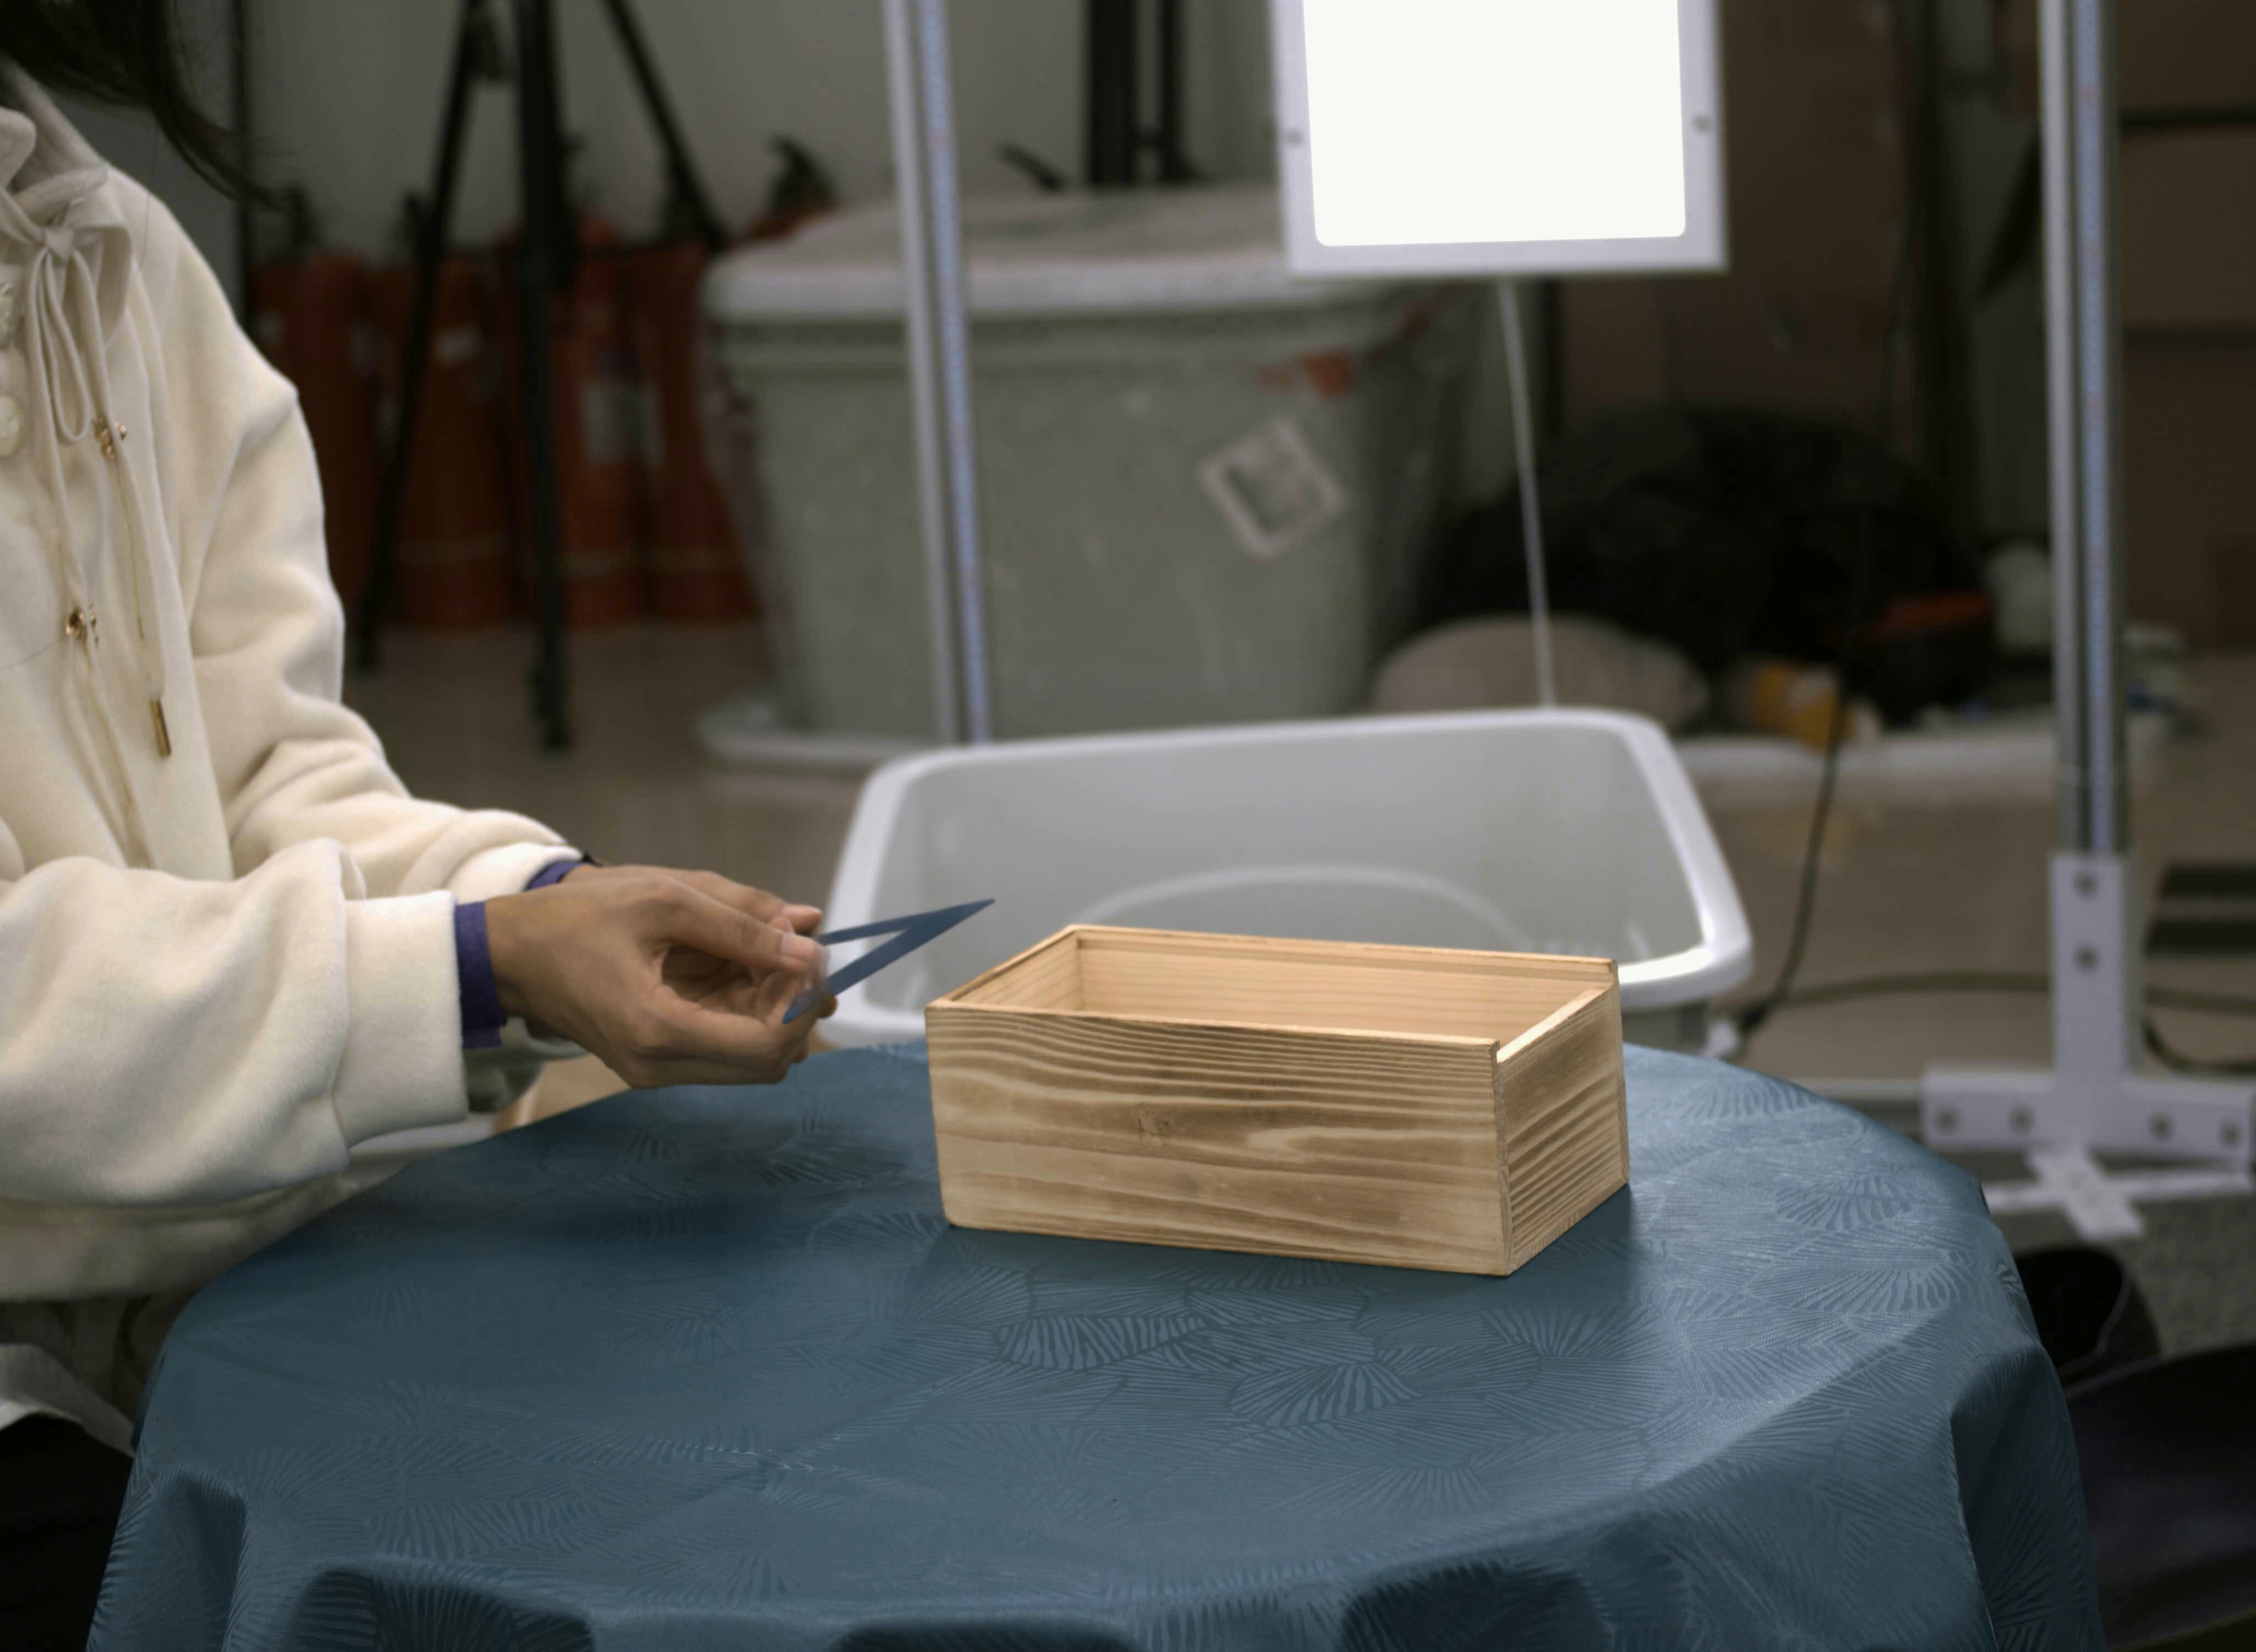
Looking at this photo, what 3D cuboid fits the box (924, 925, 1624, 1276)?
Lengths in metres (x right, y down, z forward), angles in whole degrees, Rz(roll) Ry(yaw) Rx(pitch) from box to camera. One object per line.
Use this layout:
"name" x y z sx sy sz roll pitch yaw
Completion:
"box" 0.050 0.090 1.860 0.215 0.080 0.105 3 15 29

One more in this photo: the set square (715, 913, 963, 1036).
"set square" -0.116 0.050 1.908 0.062 0.006 0.129 -1 17 37
